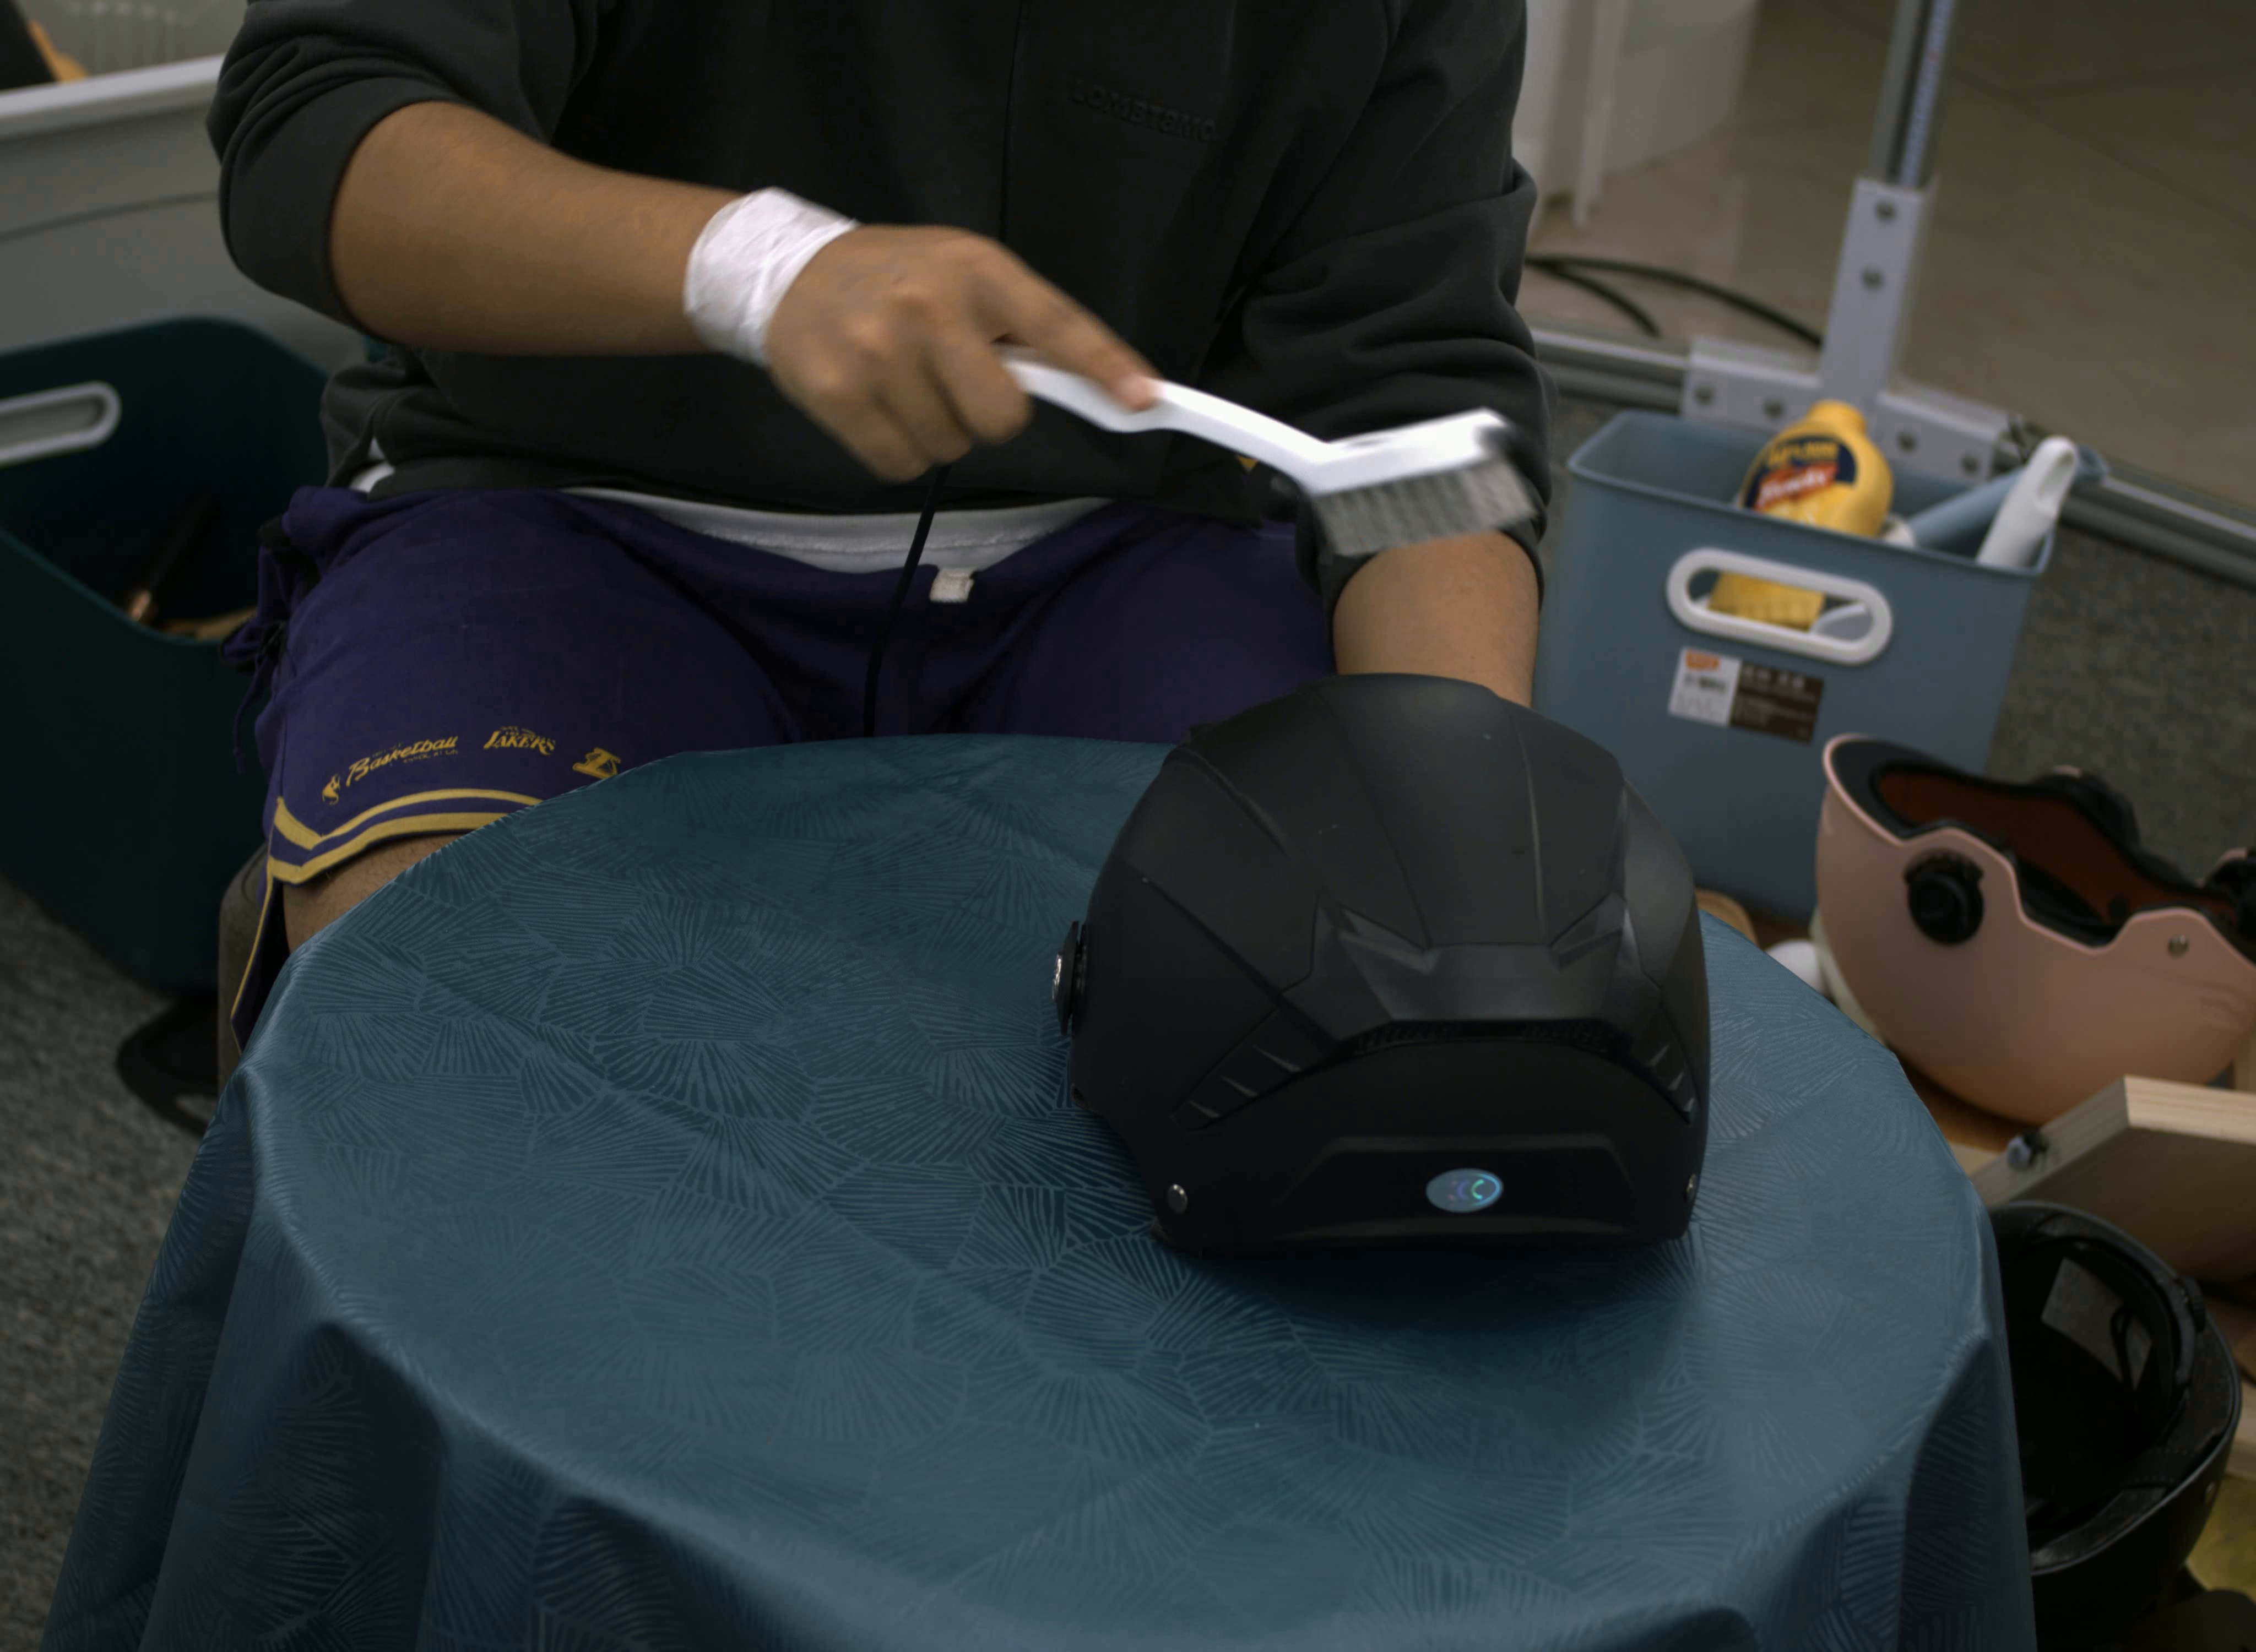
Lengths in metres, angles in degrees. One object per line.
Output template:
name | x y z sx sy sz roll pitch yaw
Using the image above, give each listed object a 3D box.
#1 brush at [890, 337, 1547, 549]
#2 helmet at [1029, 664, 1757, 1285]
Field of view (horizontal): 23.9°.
brush | 0.025 -0.127 1.774 0.245 0.050 0.034 11 22 29
helmet | 0.096 0.034 1.818 0.245 0.172 0.279 1 31 -8
